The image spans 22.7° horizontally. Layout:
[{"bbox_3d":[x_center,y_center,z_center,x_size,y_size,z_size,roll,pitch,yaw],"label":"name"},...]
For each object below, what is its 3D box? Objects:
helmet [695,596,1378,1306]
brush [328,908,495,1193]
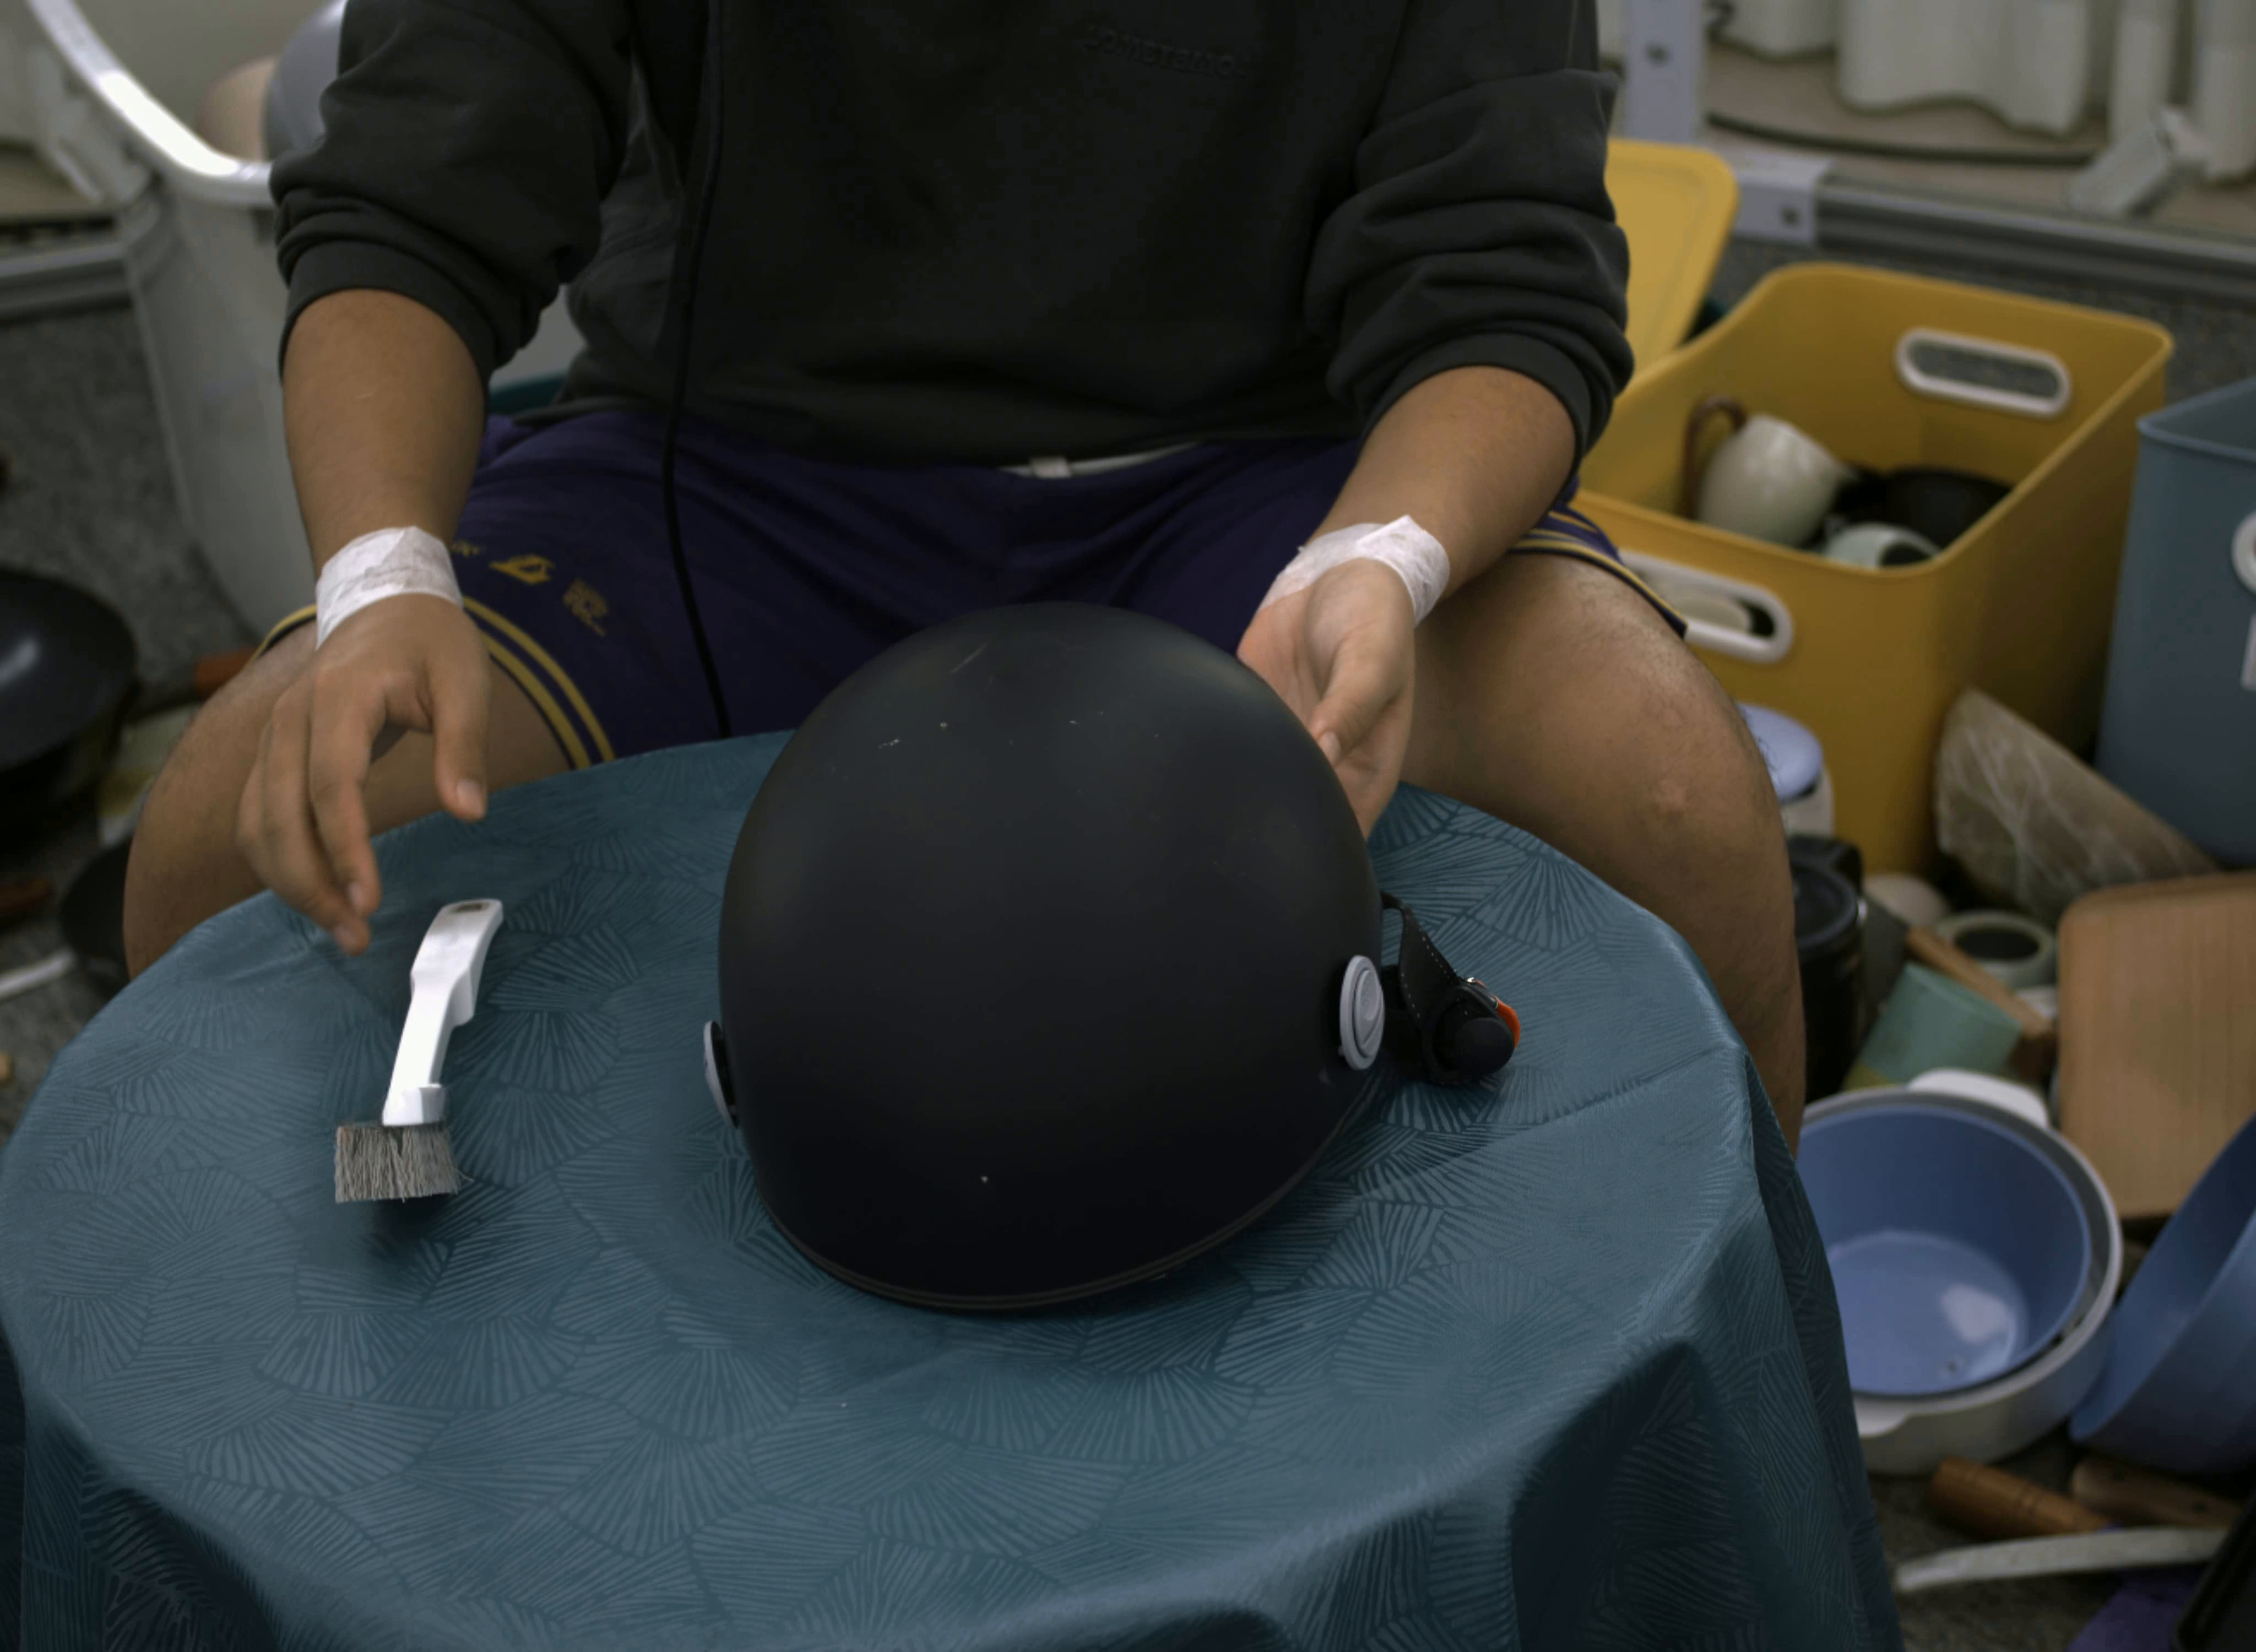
[{"bbox_3d":[-0.034,0.022,1.872,0.228,0.165,0.278,-6,30,14],"label":"helmet"},{"bbox_3d":[-0.242,0.081,1.940,0.034,0.050,0.245,-6,14,2],"label":"brush"}]
